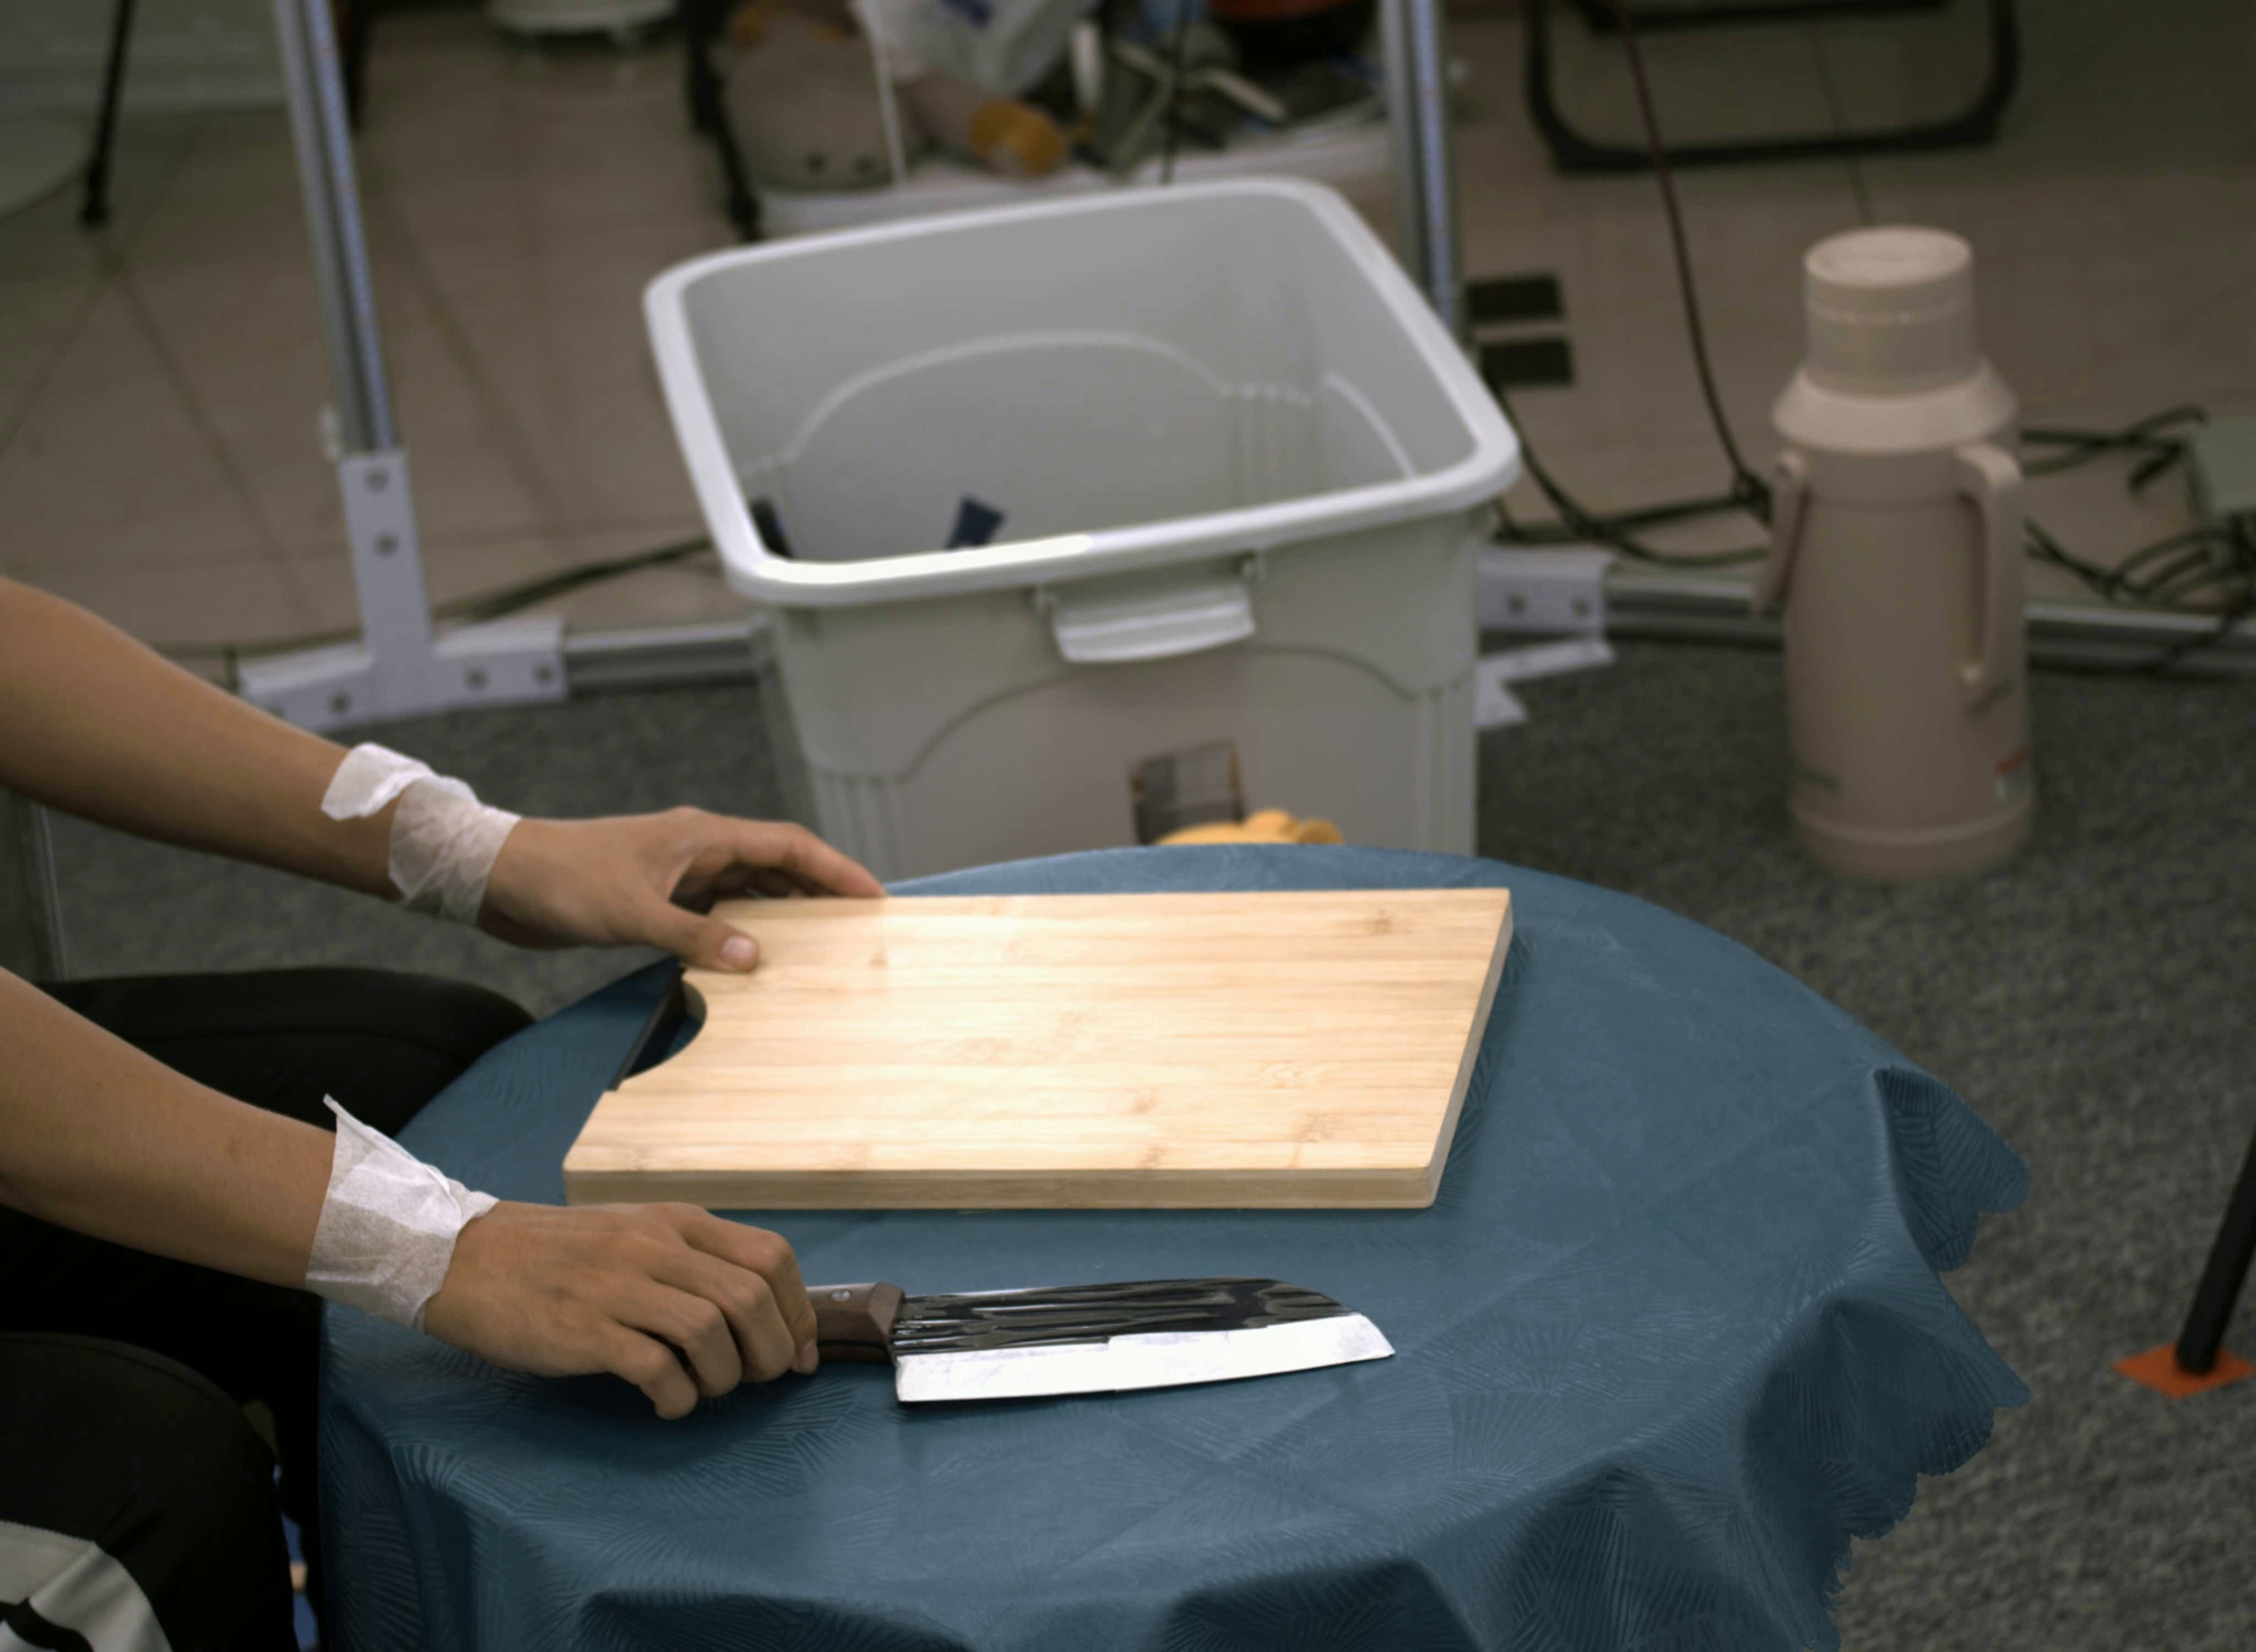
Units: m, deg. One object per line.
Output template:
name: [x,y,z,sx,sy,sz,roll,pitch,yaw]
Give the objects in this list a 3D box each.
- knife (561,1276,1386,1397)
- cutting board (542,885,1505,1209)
knife: [-0.057,0.185,2.043,0.299,0.024,0.067,-3,28,1]
cutting board: [-0.036,0.087,2.253,0.348,0.024,0.247,-1,25,12]
